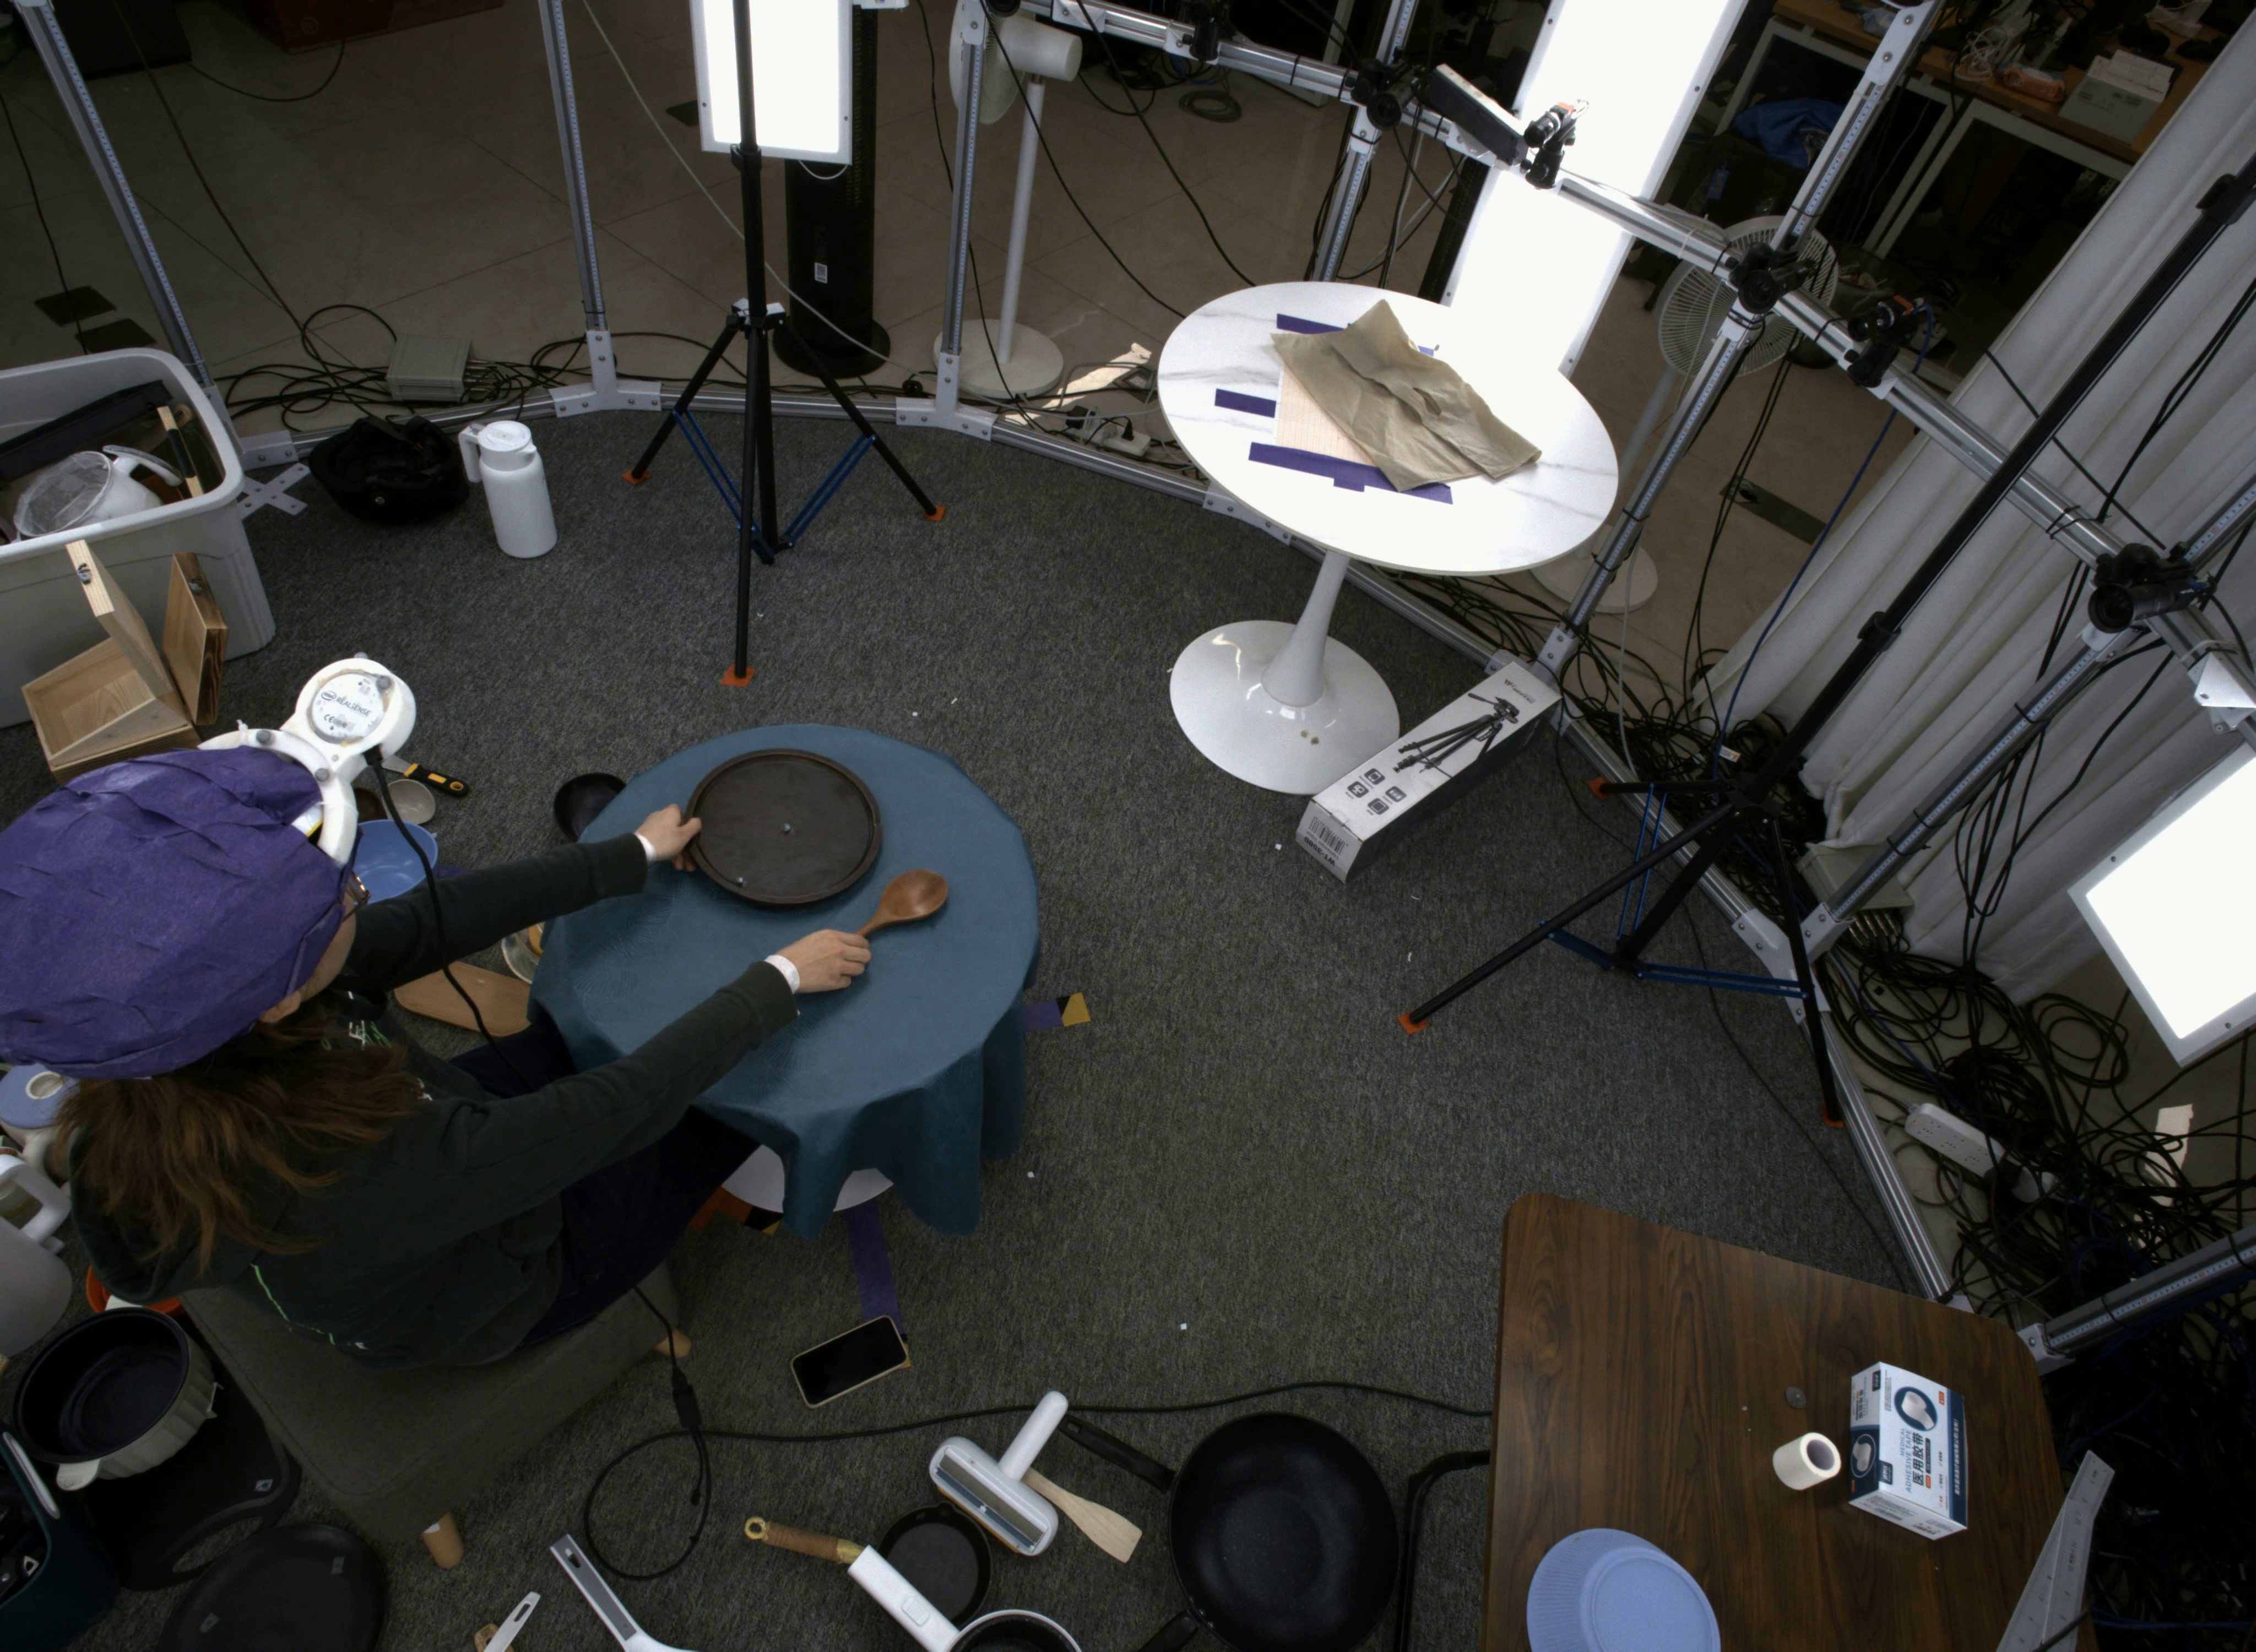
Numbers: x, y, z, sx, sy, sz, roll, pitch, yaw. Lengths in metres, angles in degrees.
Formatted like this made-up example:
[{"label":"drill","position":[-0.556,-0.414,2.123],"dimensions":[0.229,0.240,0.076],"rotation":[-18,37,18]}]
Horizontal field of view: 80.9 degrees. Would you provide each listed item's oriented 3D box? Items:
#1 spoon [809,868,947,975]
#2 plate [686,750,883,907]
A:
[{"label":"spoon","position":[-0.318,0.121,1.652],"dimensions":[0.074,0.017,0.216],"rotation":[39,52,18]},{"label":"plate","position":[-0.450,0.001,1.699],"dimensions":[0.255,0.029,0.250],"rotation":[11,51,-12]}]
